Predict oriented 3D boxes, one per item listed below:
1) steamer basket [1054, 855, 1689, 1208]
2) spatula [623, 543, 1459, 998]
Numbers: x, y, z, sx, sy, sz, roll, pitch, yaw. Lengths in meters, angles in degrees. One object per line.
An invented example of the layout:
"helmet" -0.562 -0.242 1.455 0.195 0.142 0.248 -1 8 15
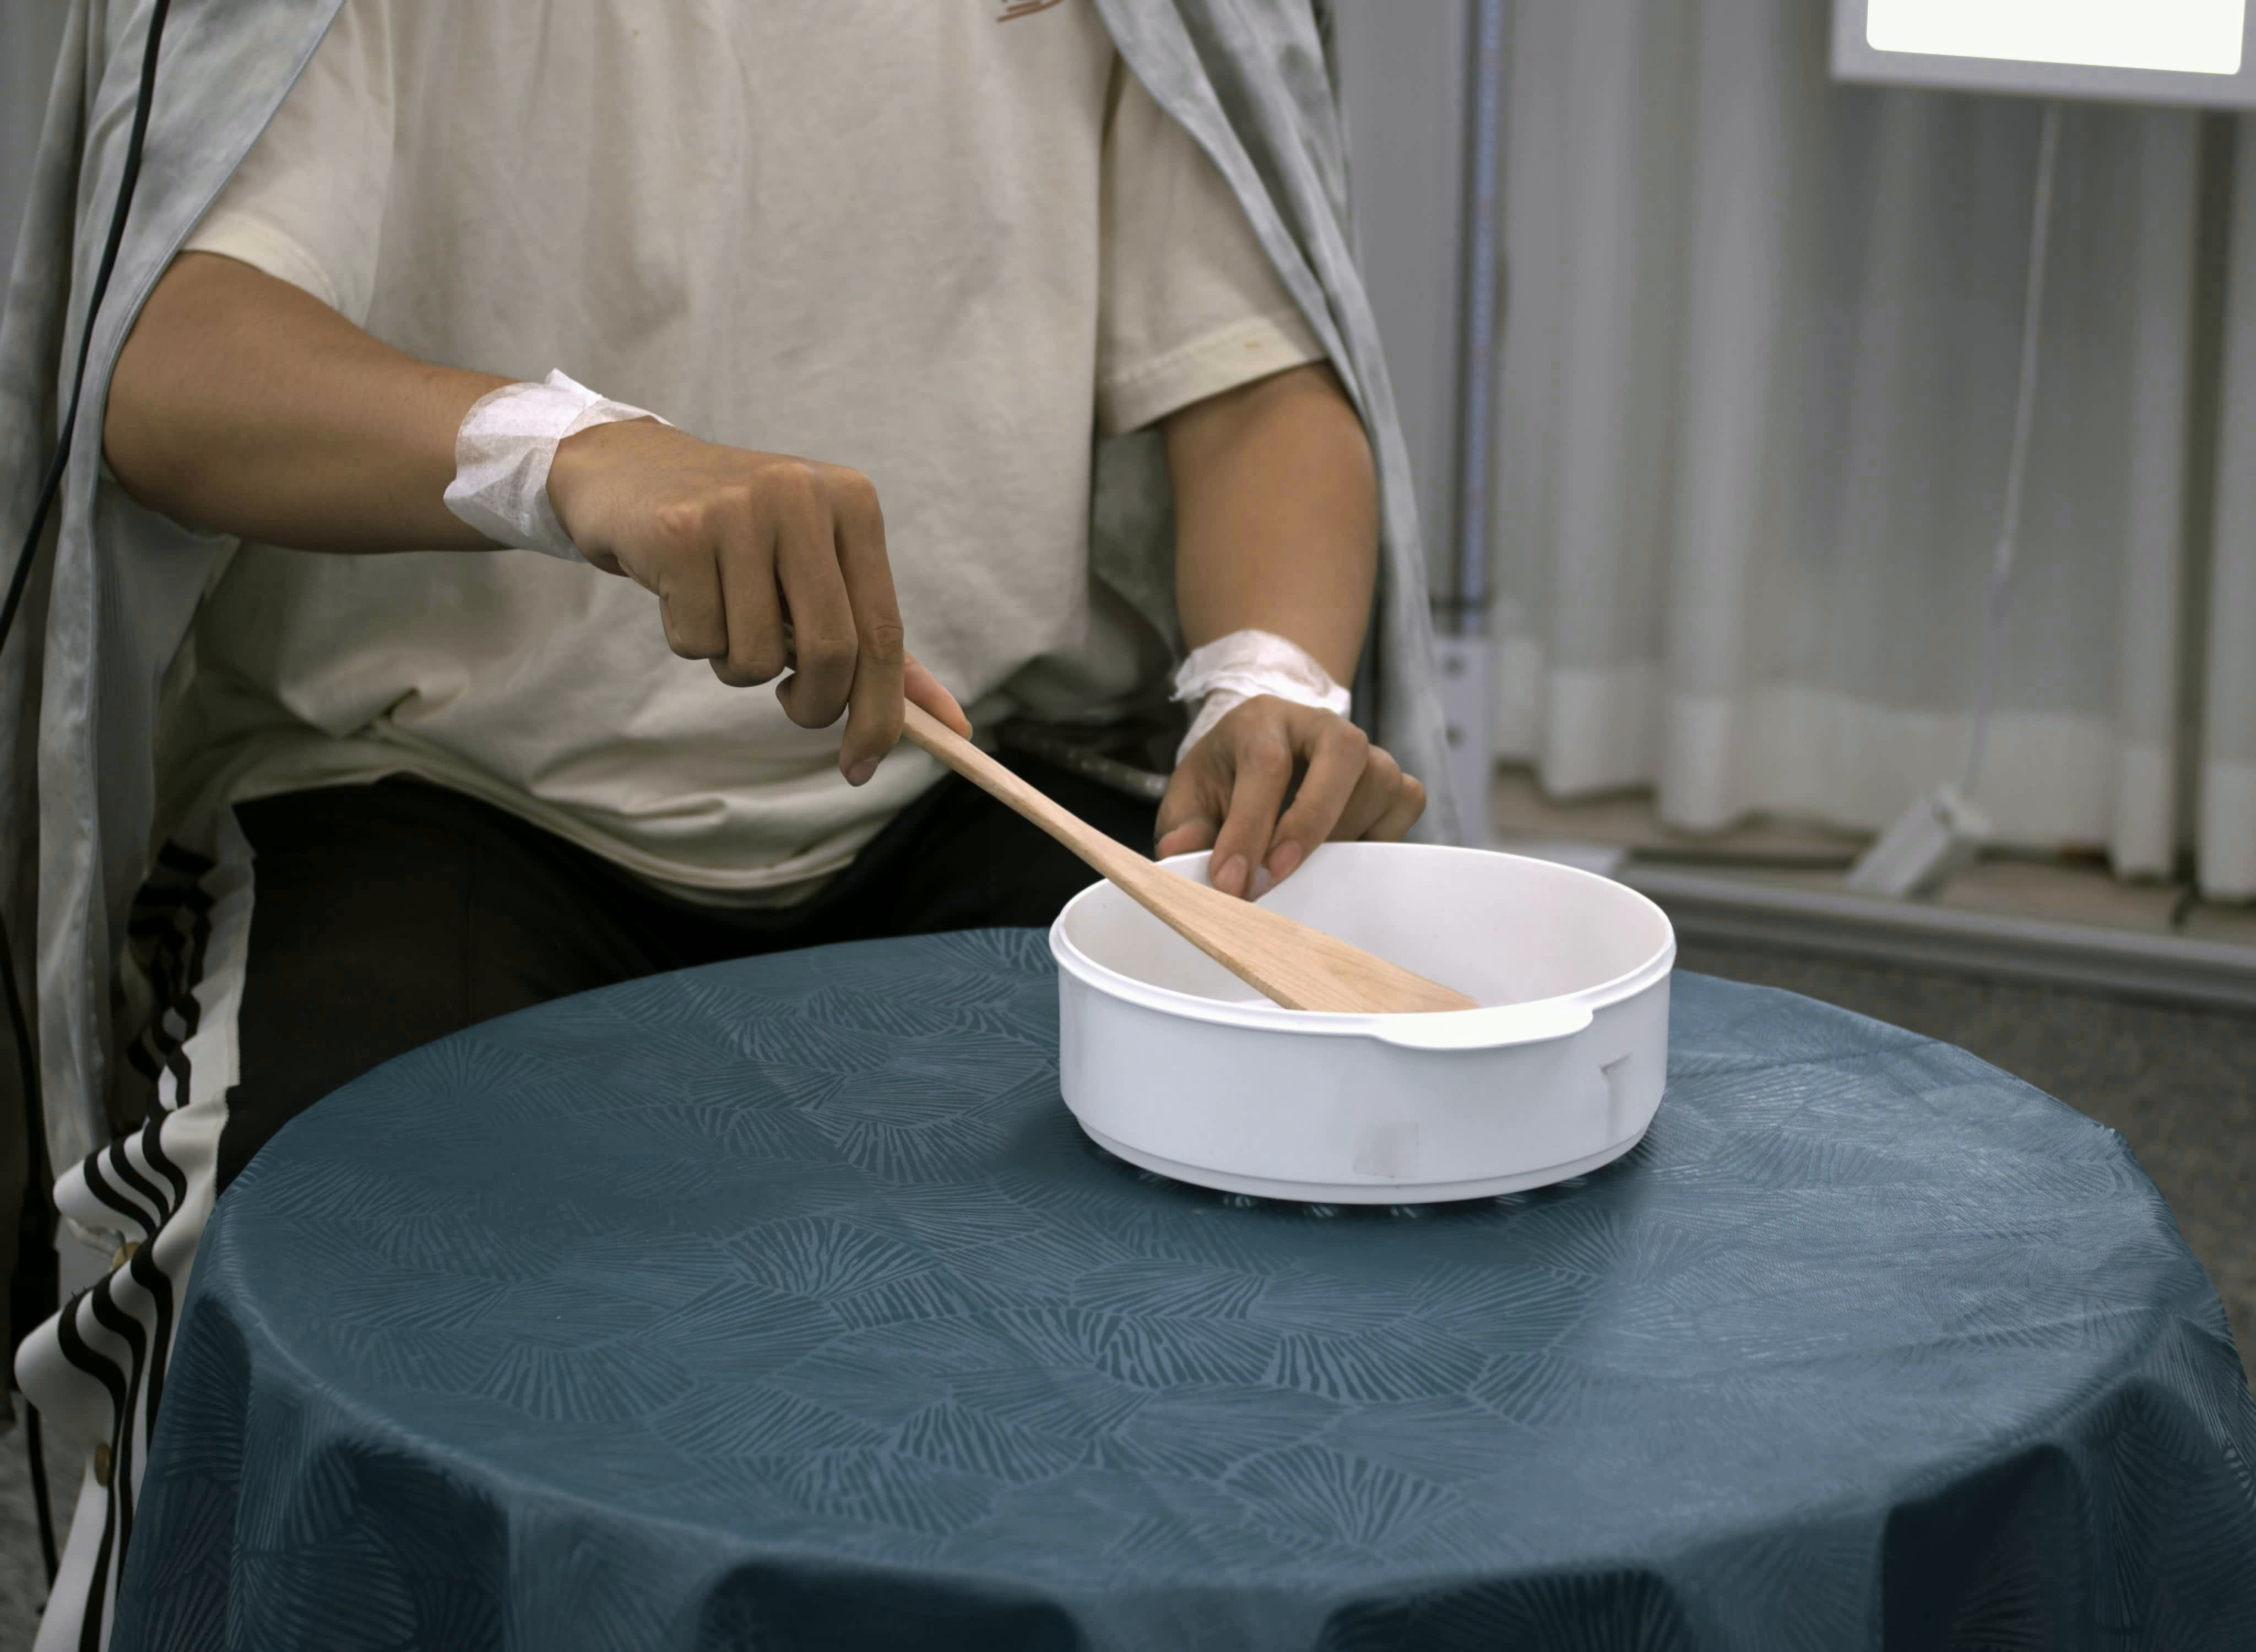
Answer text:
"steamer basket" 0.077 0.065 1.677 0.202 0.070 0.228 -4 15 -20
"spatula" -0.017 -0.003 1.661 0.328 0.016 0.079 32 18 -9
